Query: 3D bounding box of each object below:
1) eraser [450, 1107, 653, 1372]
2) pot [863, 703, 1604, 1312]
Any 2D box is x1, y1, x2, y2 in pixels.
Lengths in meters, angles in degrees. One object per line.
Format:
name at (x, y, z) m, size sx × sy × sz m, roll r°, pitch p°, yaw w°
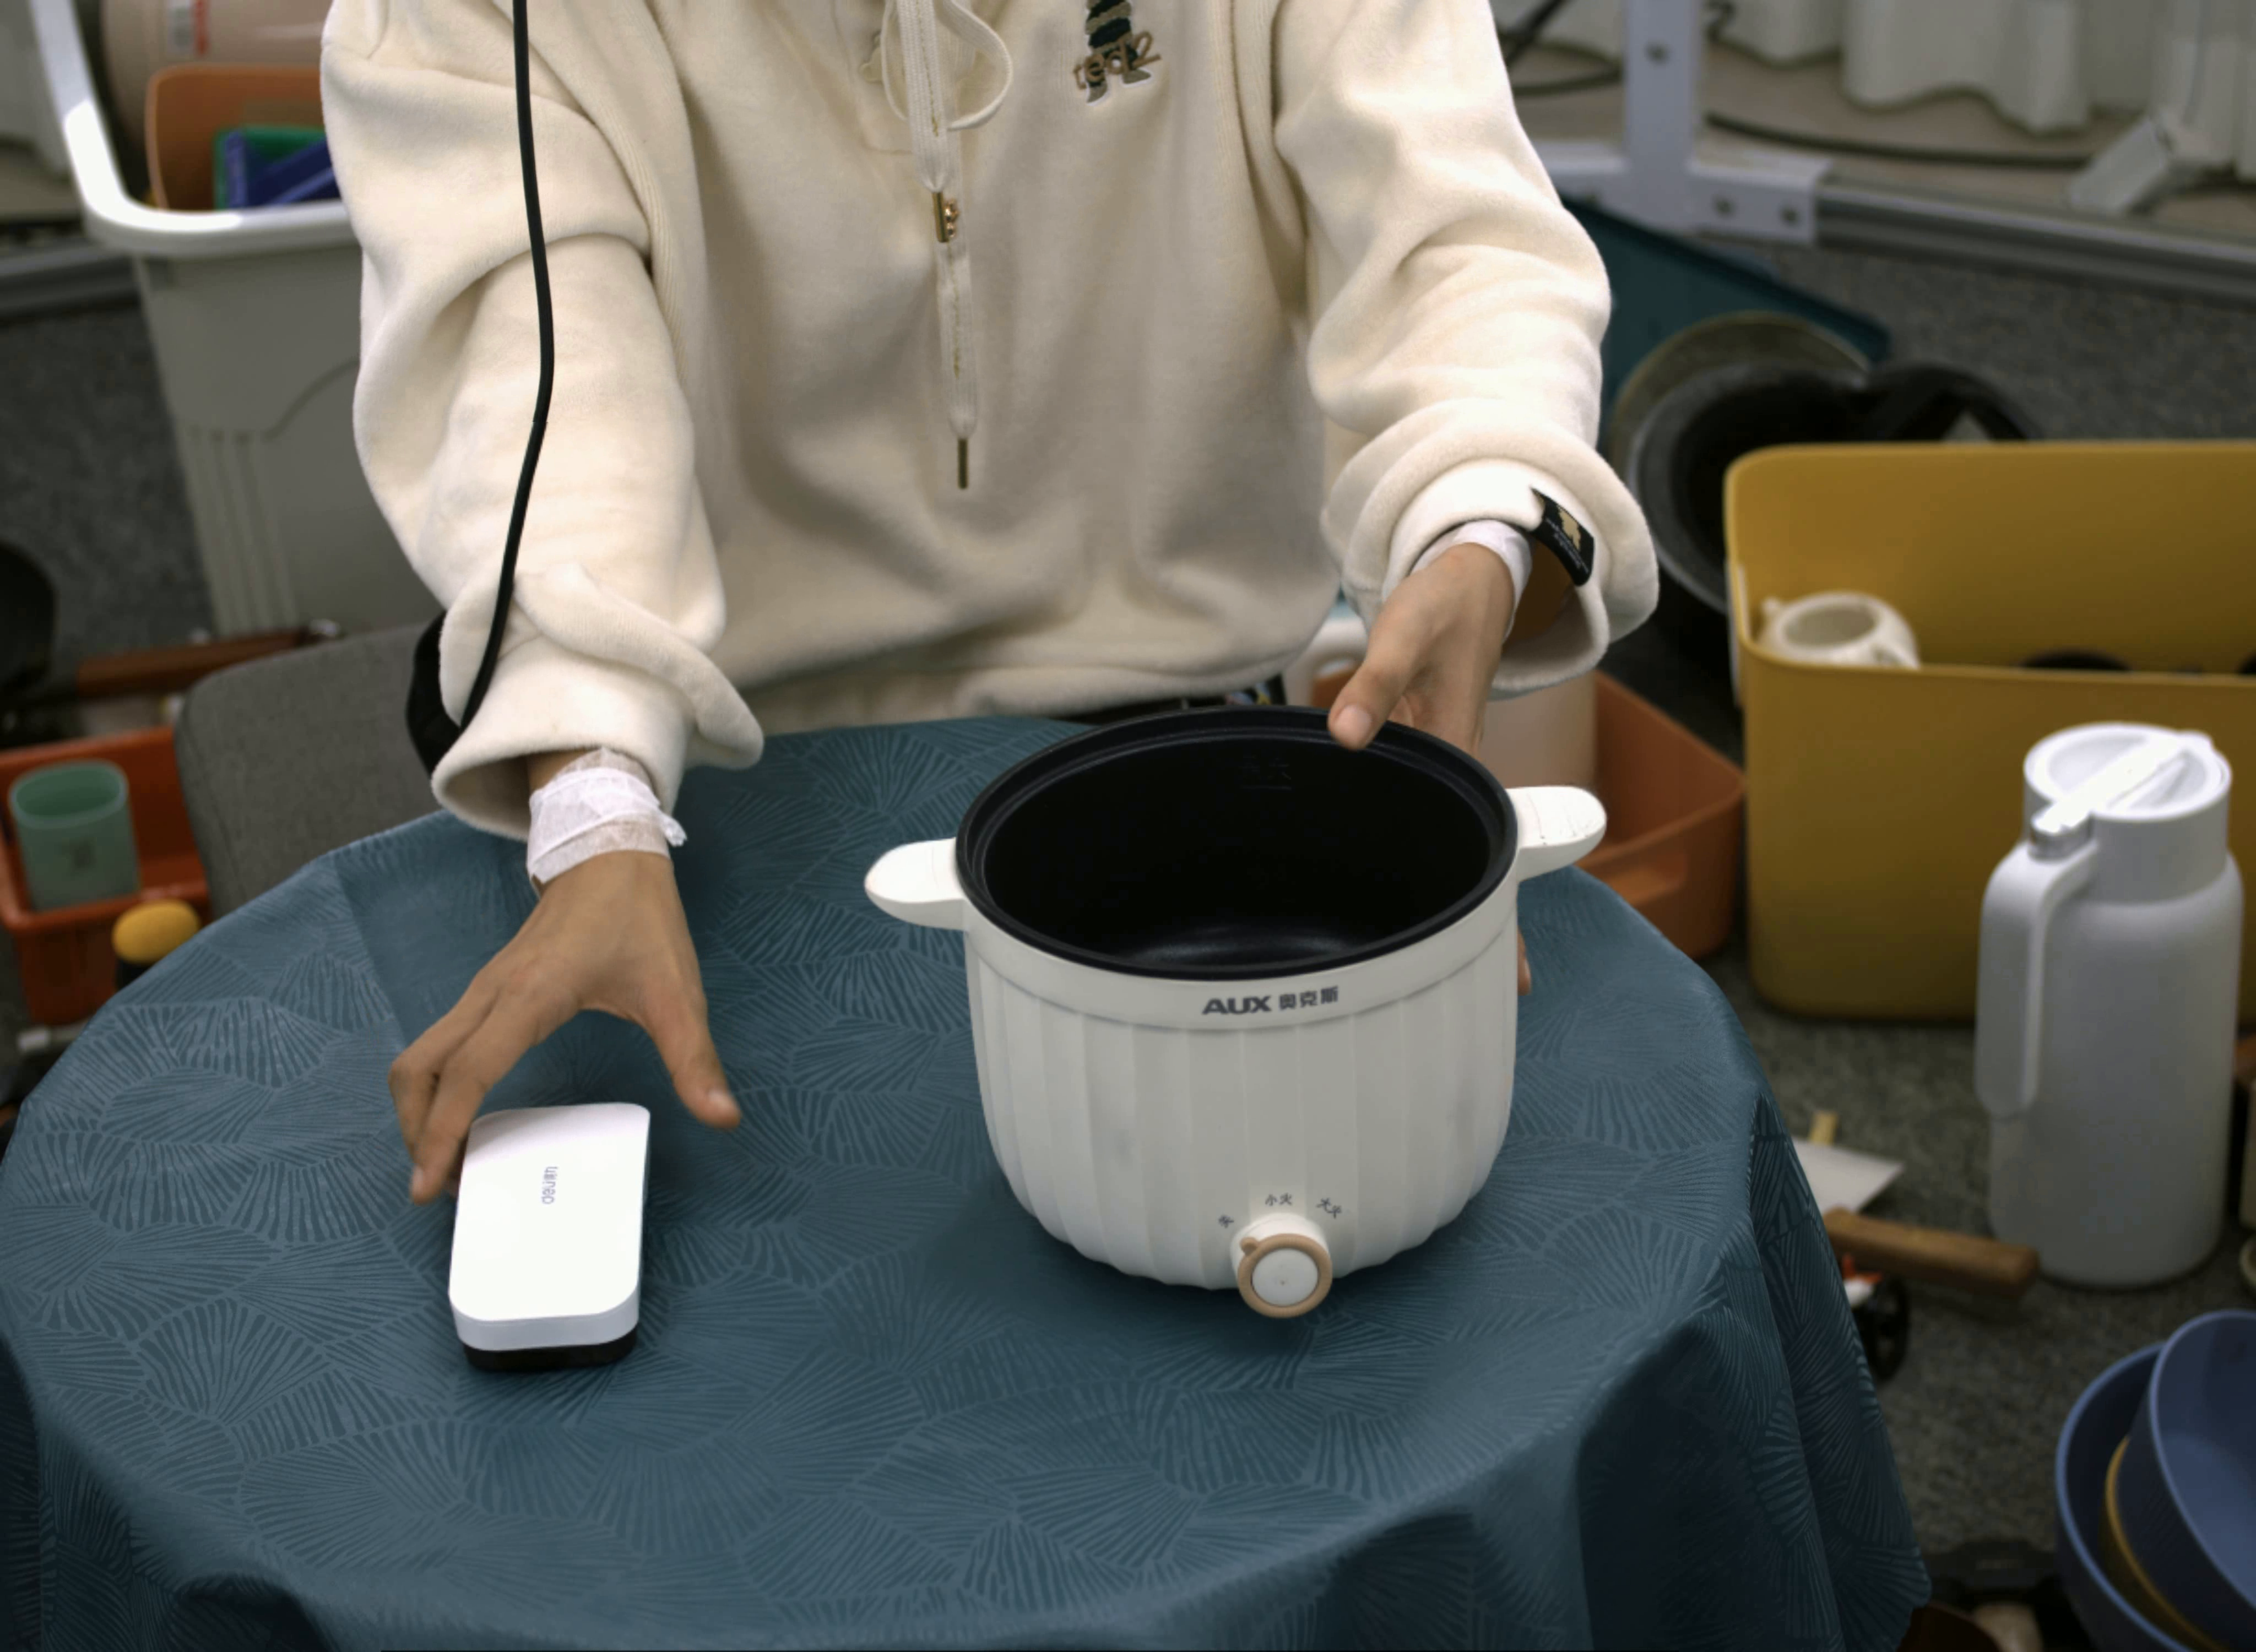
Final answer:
eraser at (-0.186, 0.131, 1.829) m, size 0.063 × 0.034 × 0.133 m, roll -2°, pitch 27°, yaw -2°
pot at (0.039, 0.062, 1.823) m, size 0.239 × 0.141 × 0.193 m, roll -6°, pitch 24°, yaw -4°
